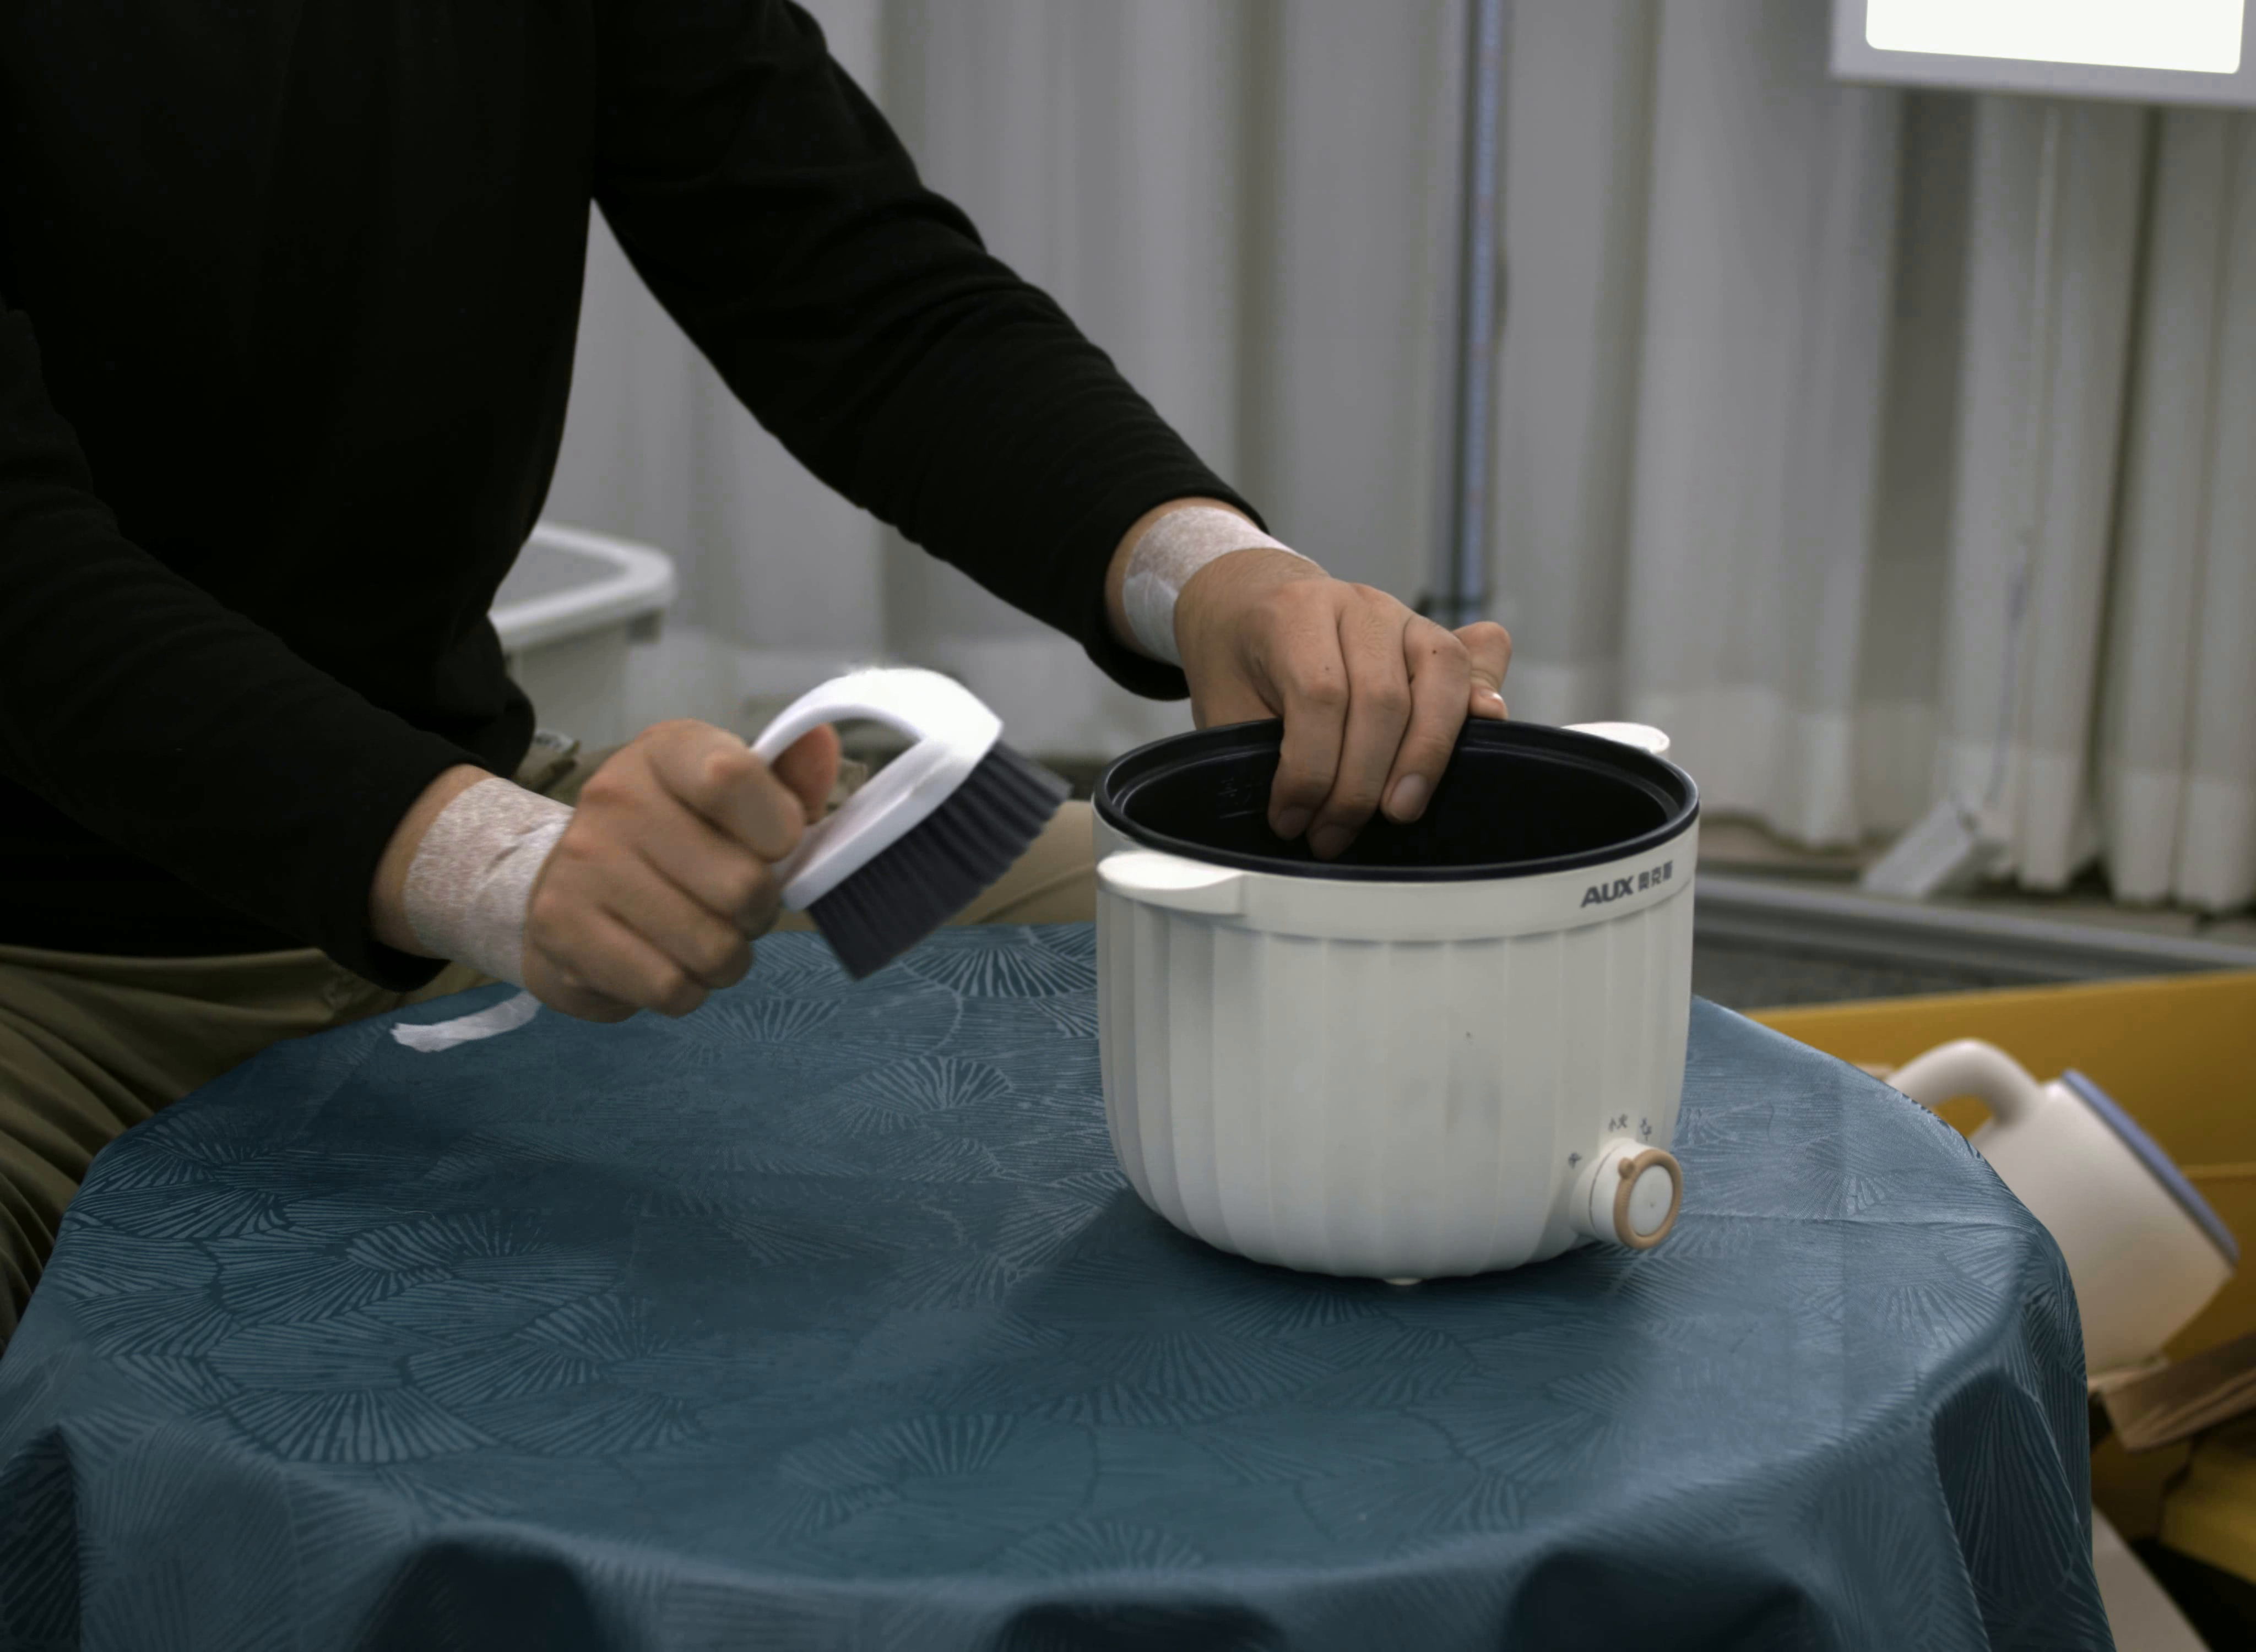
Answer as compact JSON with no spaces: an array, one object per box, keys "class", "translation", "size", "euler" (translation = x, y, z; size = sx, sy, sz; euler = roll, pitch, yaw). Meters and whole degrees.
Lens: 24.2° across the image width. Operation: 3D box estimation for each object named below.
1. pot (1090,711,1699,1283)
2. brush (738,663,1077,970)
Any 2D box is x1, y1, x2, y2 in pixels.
[{"class":"pot","translation":[0.084,0.052,1.579],"size":[0.188,0.144,0.241],"euler":[11,20,41]},{"class":"brush","translation":[-0.071,-0.009,1.496],"size":[0.099,0.073,0.050],"euler":[-36,16,46]}]
